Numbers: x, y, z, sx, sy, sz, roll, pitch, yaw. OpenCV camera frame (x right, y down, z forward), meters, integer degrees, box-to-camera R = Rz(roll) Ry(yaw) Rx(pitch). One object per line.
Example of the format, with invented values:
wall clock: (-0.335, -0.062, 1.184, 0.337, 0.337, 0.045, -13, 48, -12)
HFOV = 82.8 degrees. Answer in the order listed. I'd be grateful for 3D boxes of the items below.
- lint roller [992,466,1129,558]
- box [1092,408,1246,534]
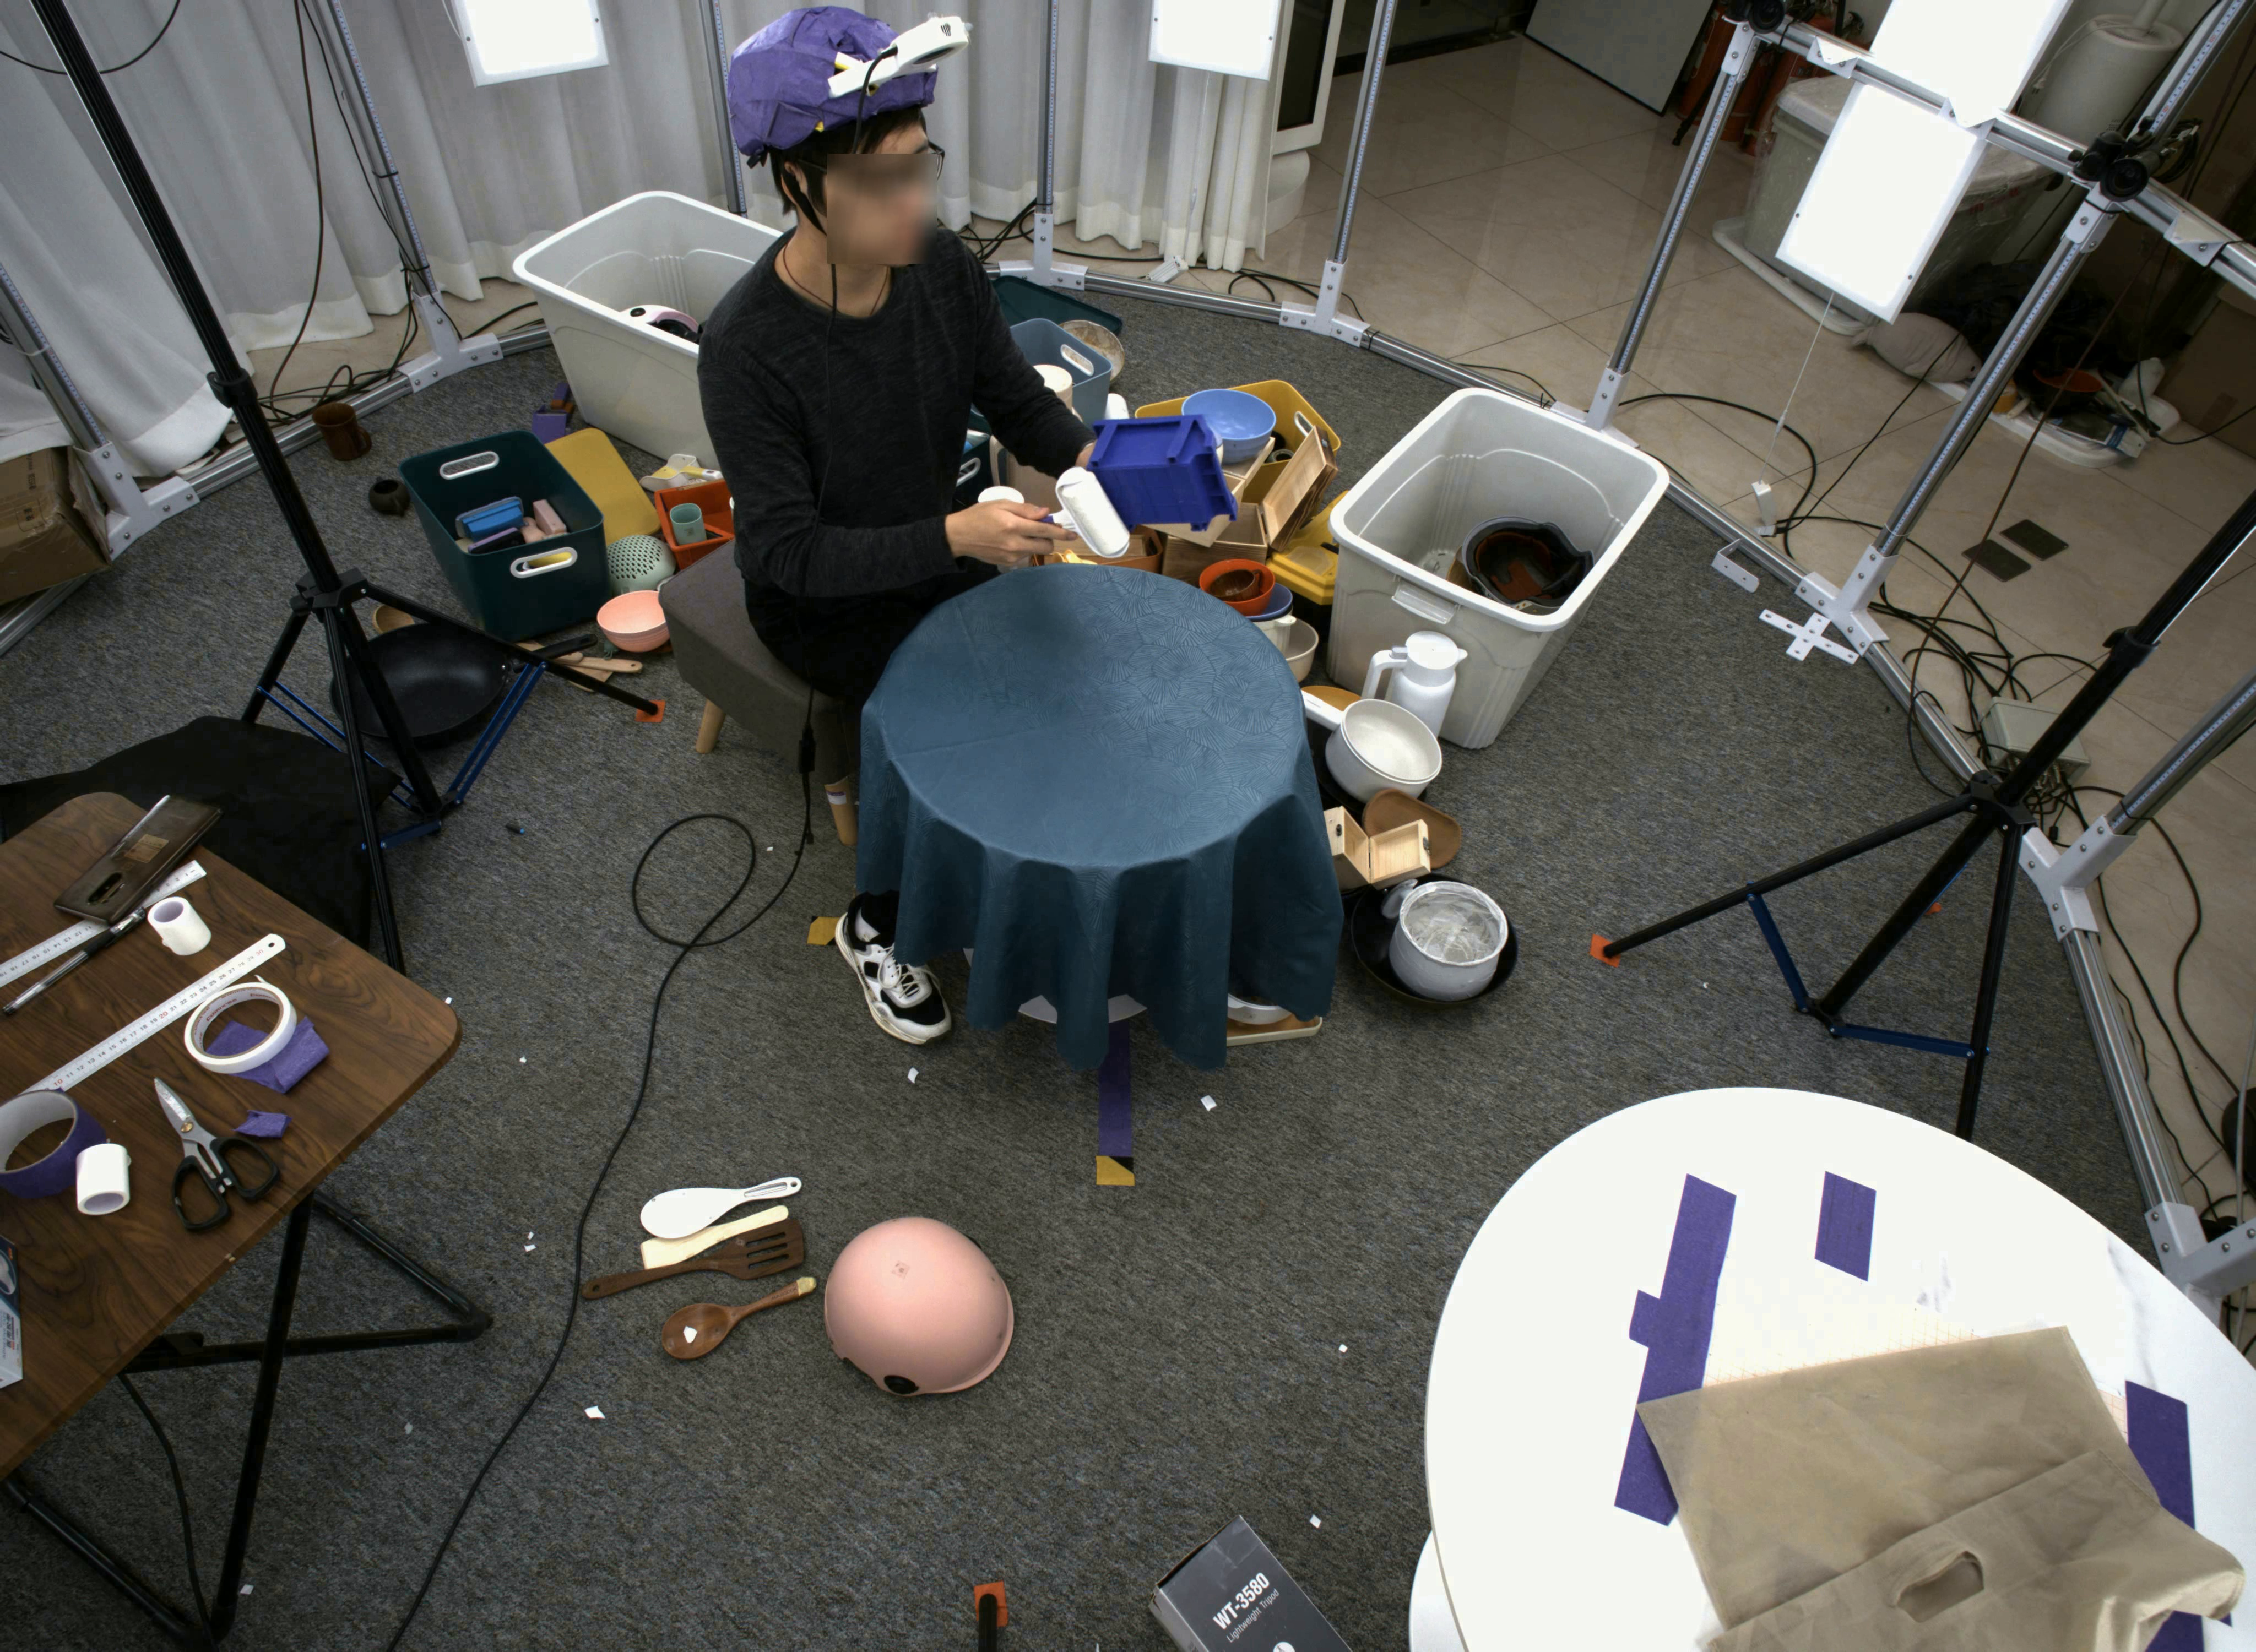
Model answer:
lint roller: (-0.099, -0.382, 1.644, 0.180, 0.130, 0.051, -12, 47, 23)
box: (0.053, -0.440, 1.612, 0.180, 0.121, 0.083, 1, 53, 25)
